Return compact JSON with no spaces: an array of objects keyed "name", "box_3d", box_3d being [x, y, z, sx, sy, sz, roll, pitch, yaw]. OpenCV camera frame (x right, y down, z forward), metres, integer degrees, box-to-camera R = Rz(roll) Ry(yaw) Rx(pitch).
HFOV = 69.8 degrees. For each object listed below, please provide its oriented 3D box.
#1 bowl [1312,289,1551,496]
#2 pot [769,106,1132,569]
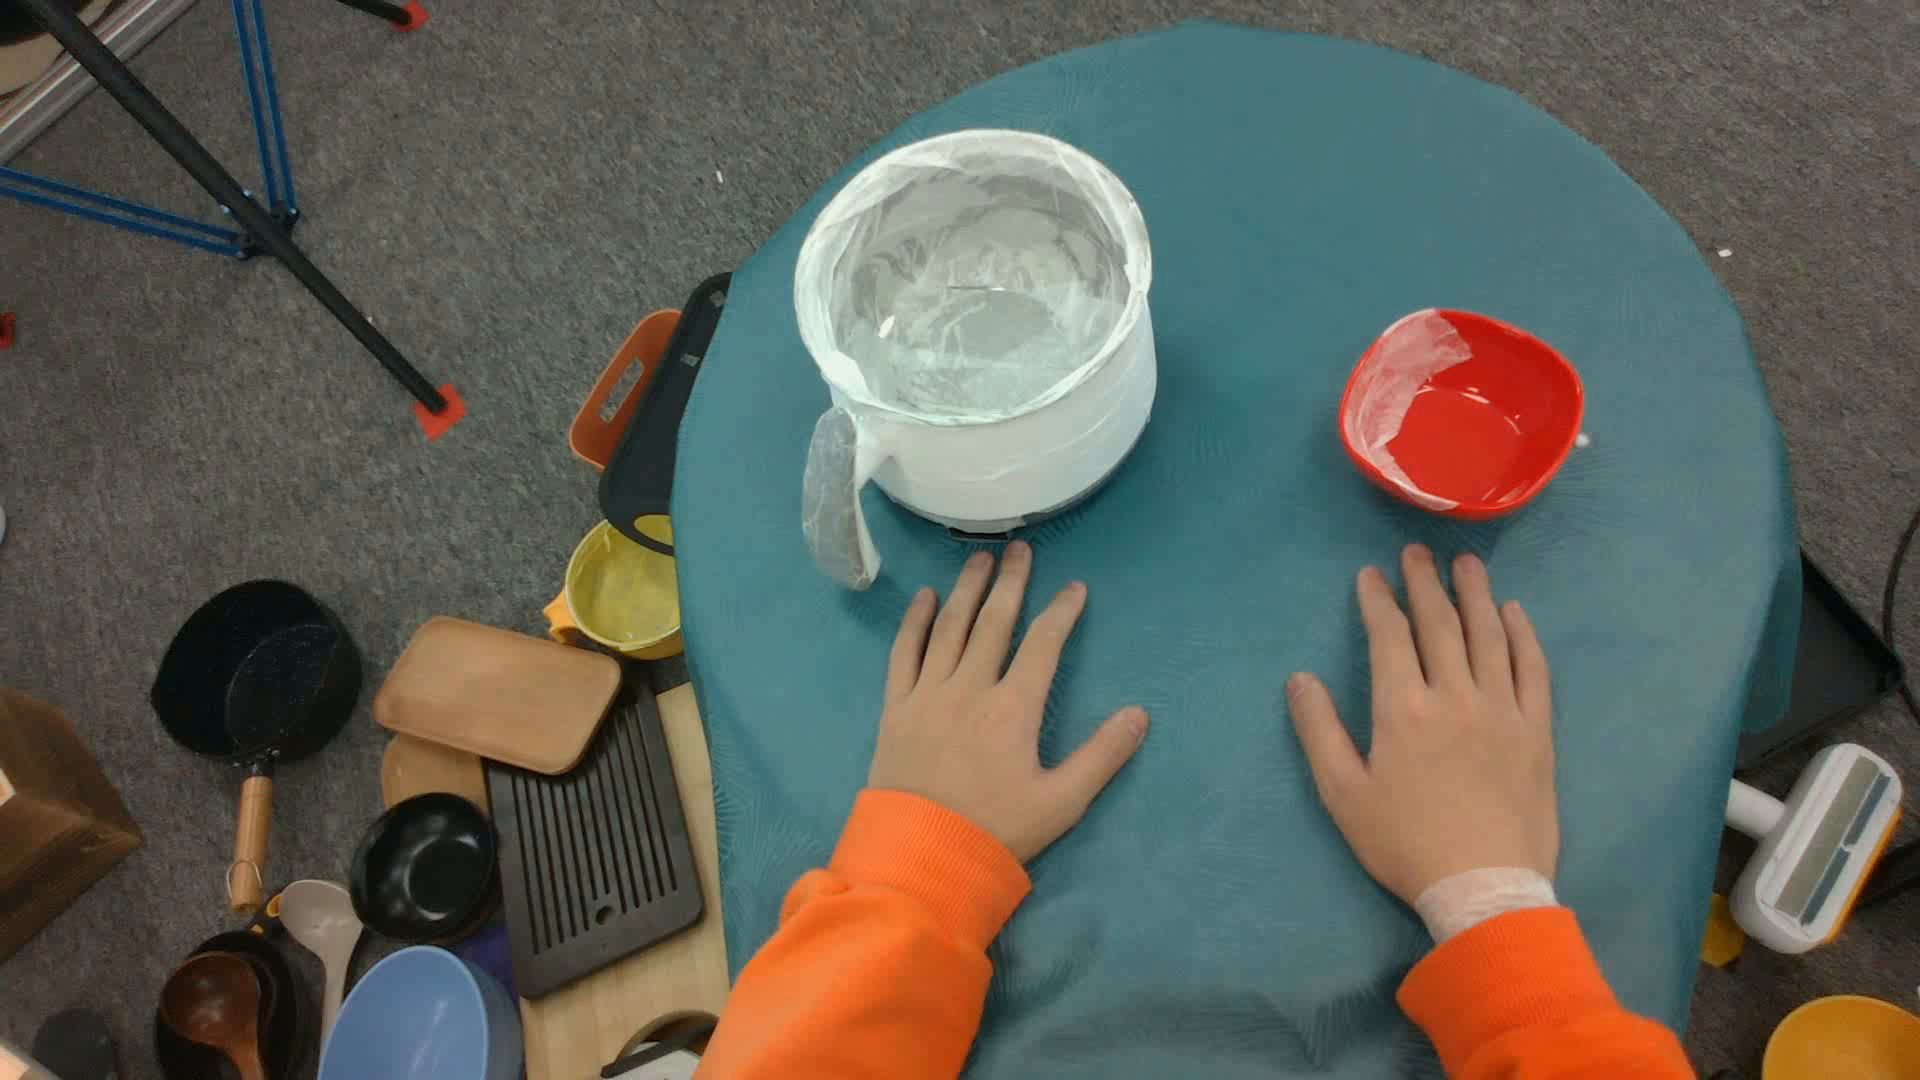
[{"name":"bowl","box_3d":[0.241,-0.069,0.716,0.119,0.051,0.119,-3,64,6]},{"name":"pot","box_3d":[-0.015,-0.095,0.720,0.179,0.136,0.234,30,72,21]}]
